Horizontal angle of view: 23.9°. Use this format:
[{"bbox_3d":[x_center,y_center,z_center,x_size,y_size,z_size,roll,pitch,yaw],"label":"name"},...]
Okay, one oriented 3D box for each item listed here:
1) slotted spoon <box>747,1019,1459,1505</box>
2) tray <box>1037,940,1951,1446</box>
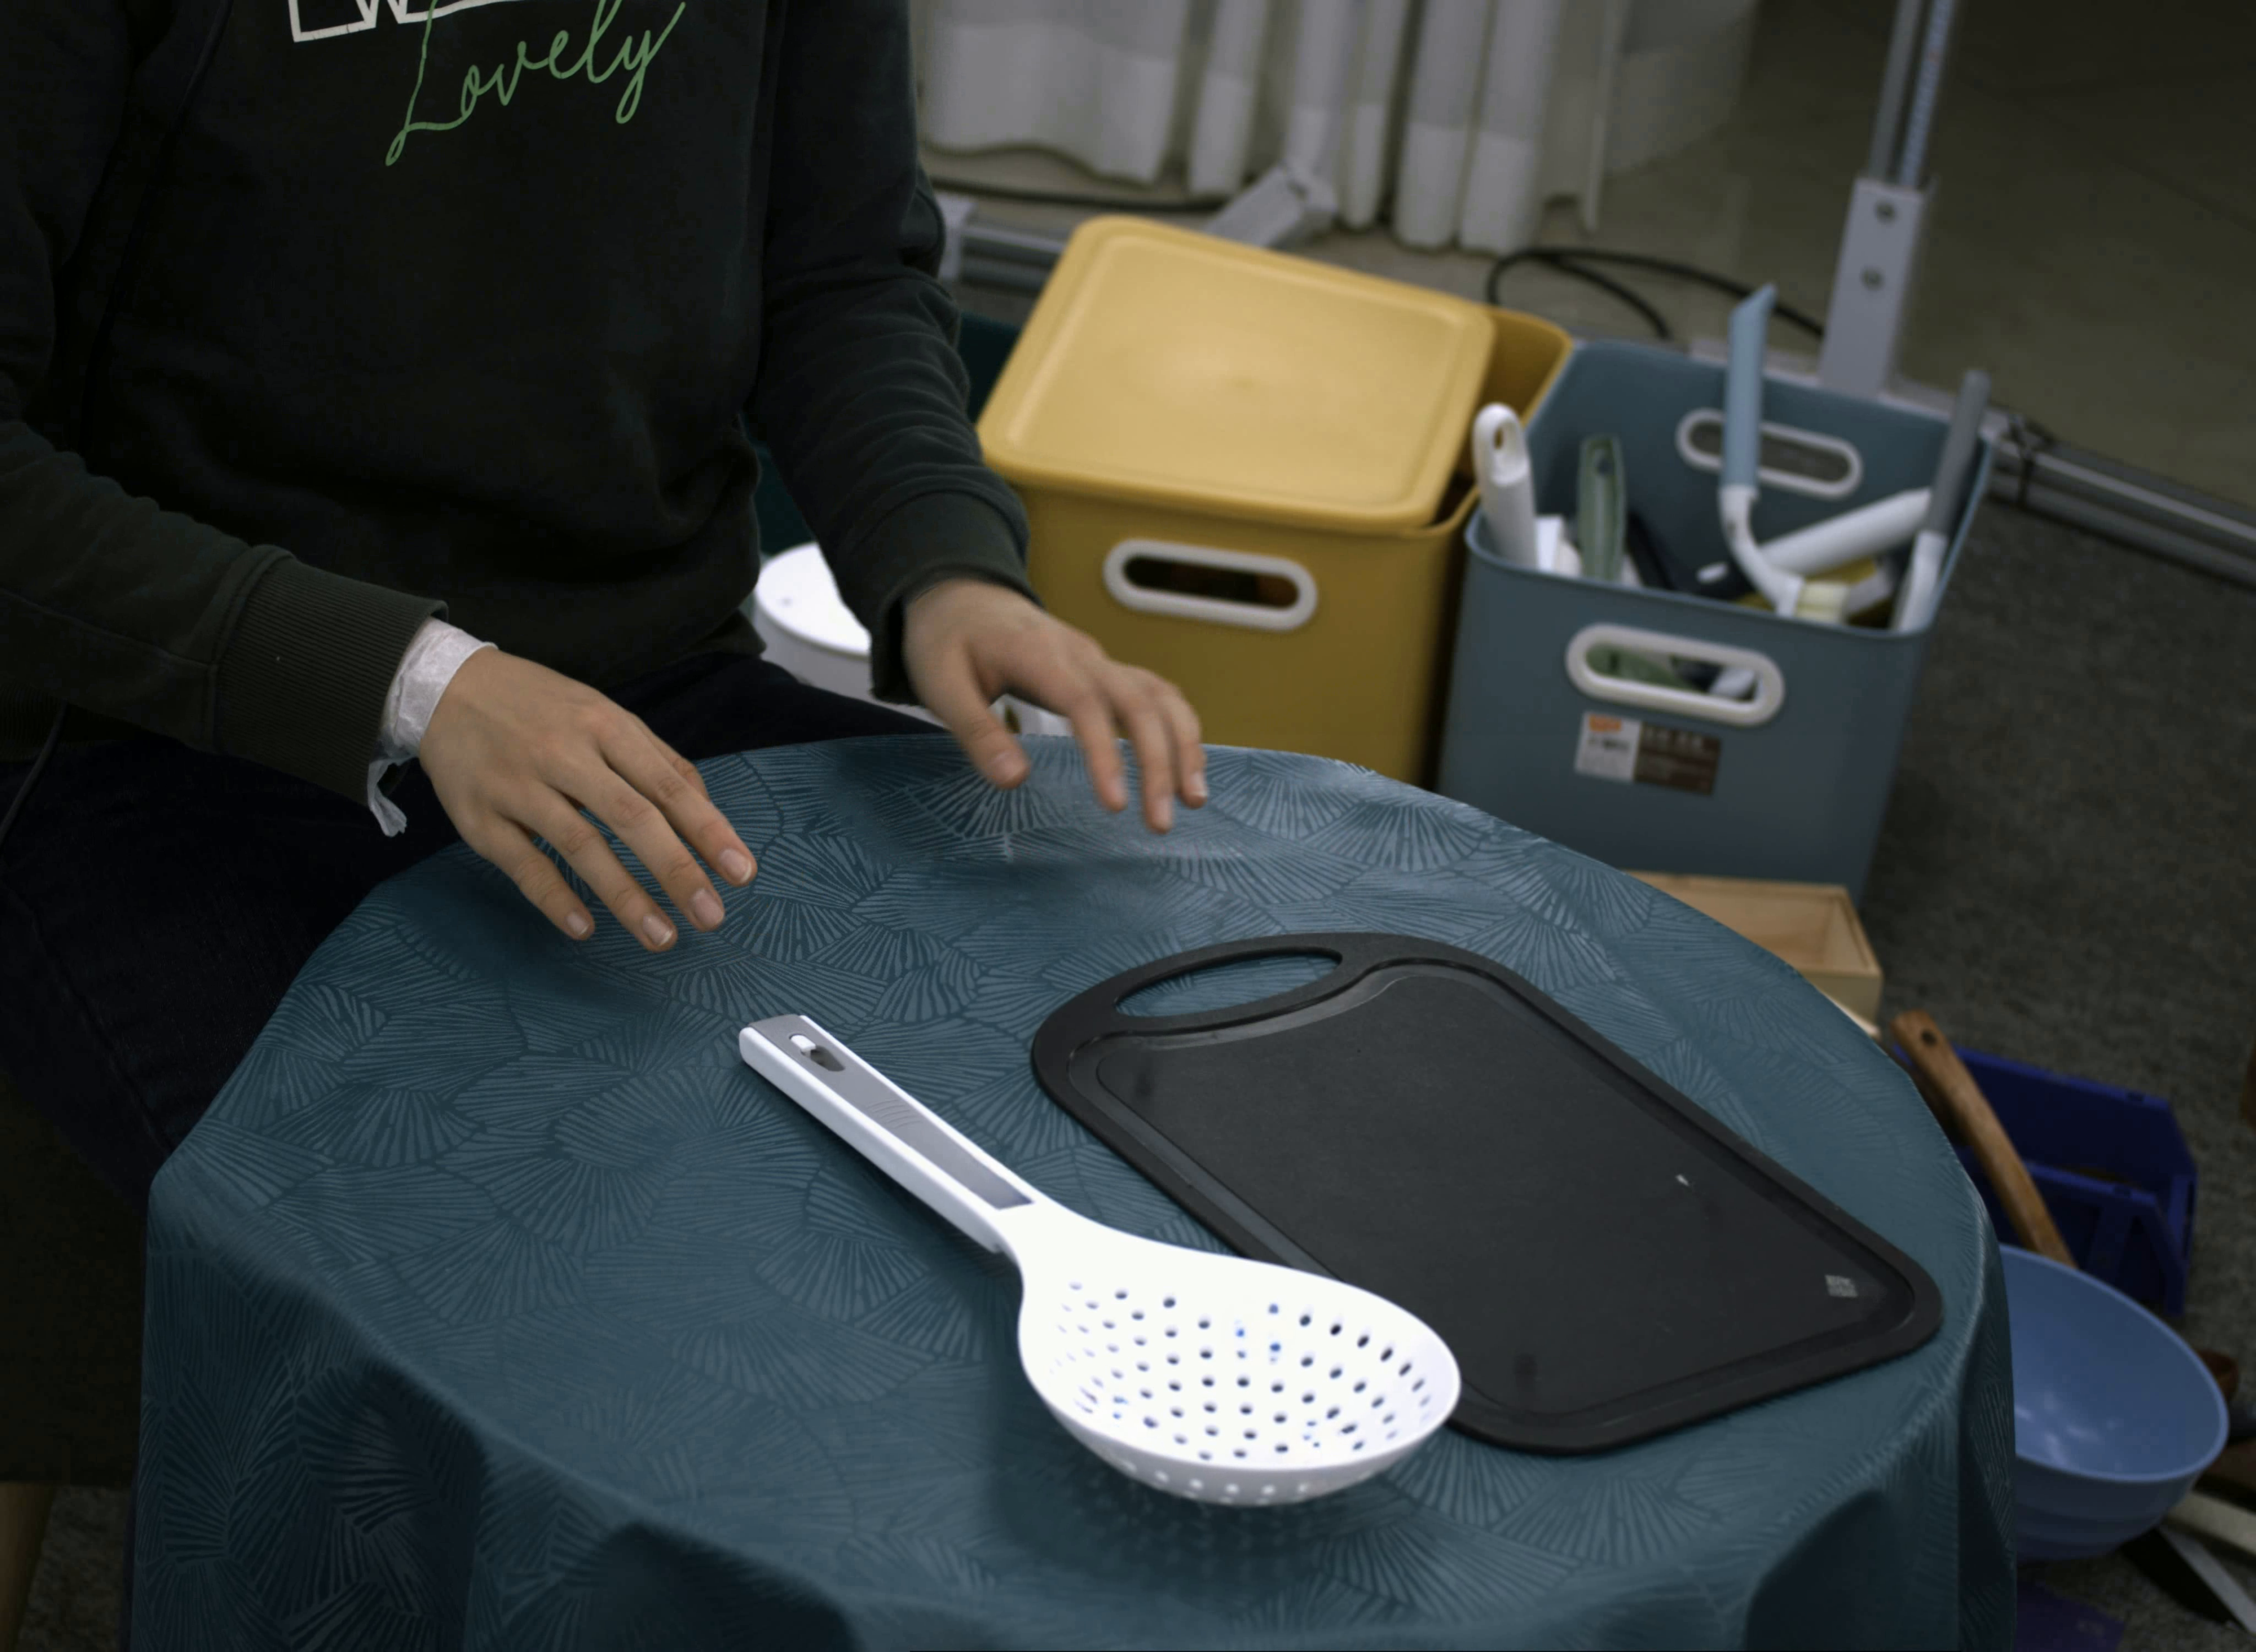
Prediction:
[{"bbox_3d":[-0.027,0.135,1.722,0.135,0.045,0.353,-9,30,-33],"label":"slotted spoon"},{"bbox_3d":[0.116,0.116,1.833,0.210,0.010,0.328,-12,32,-33],"label":"tray"}]
